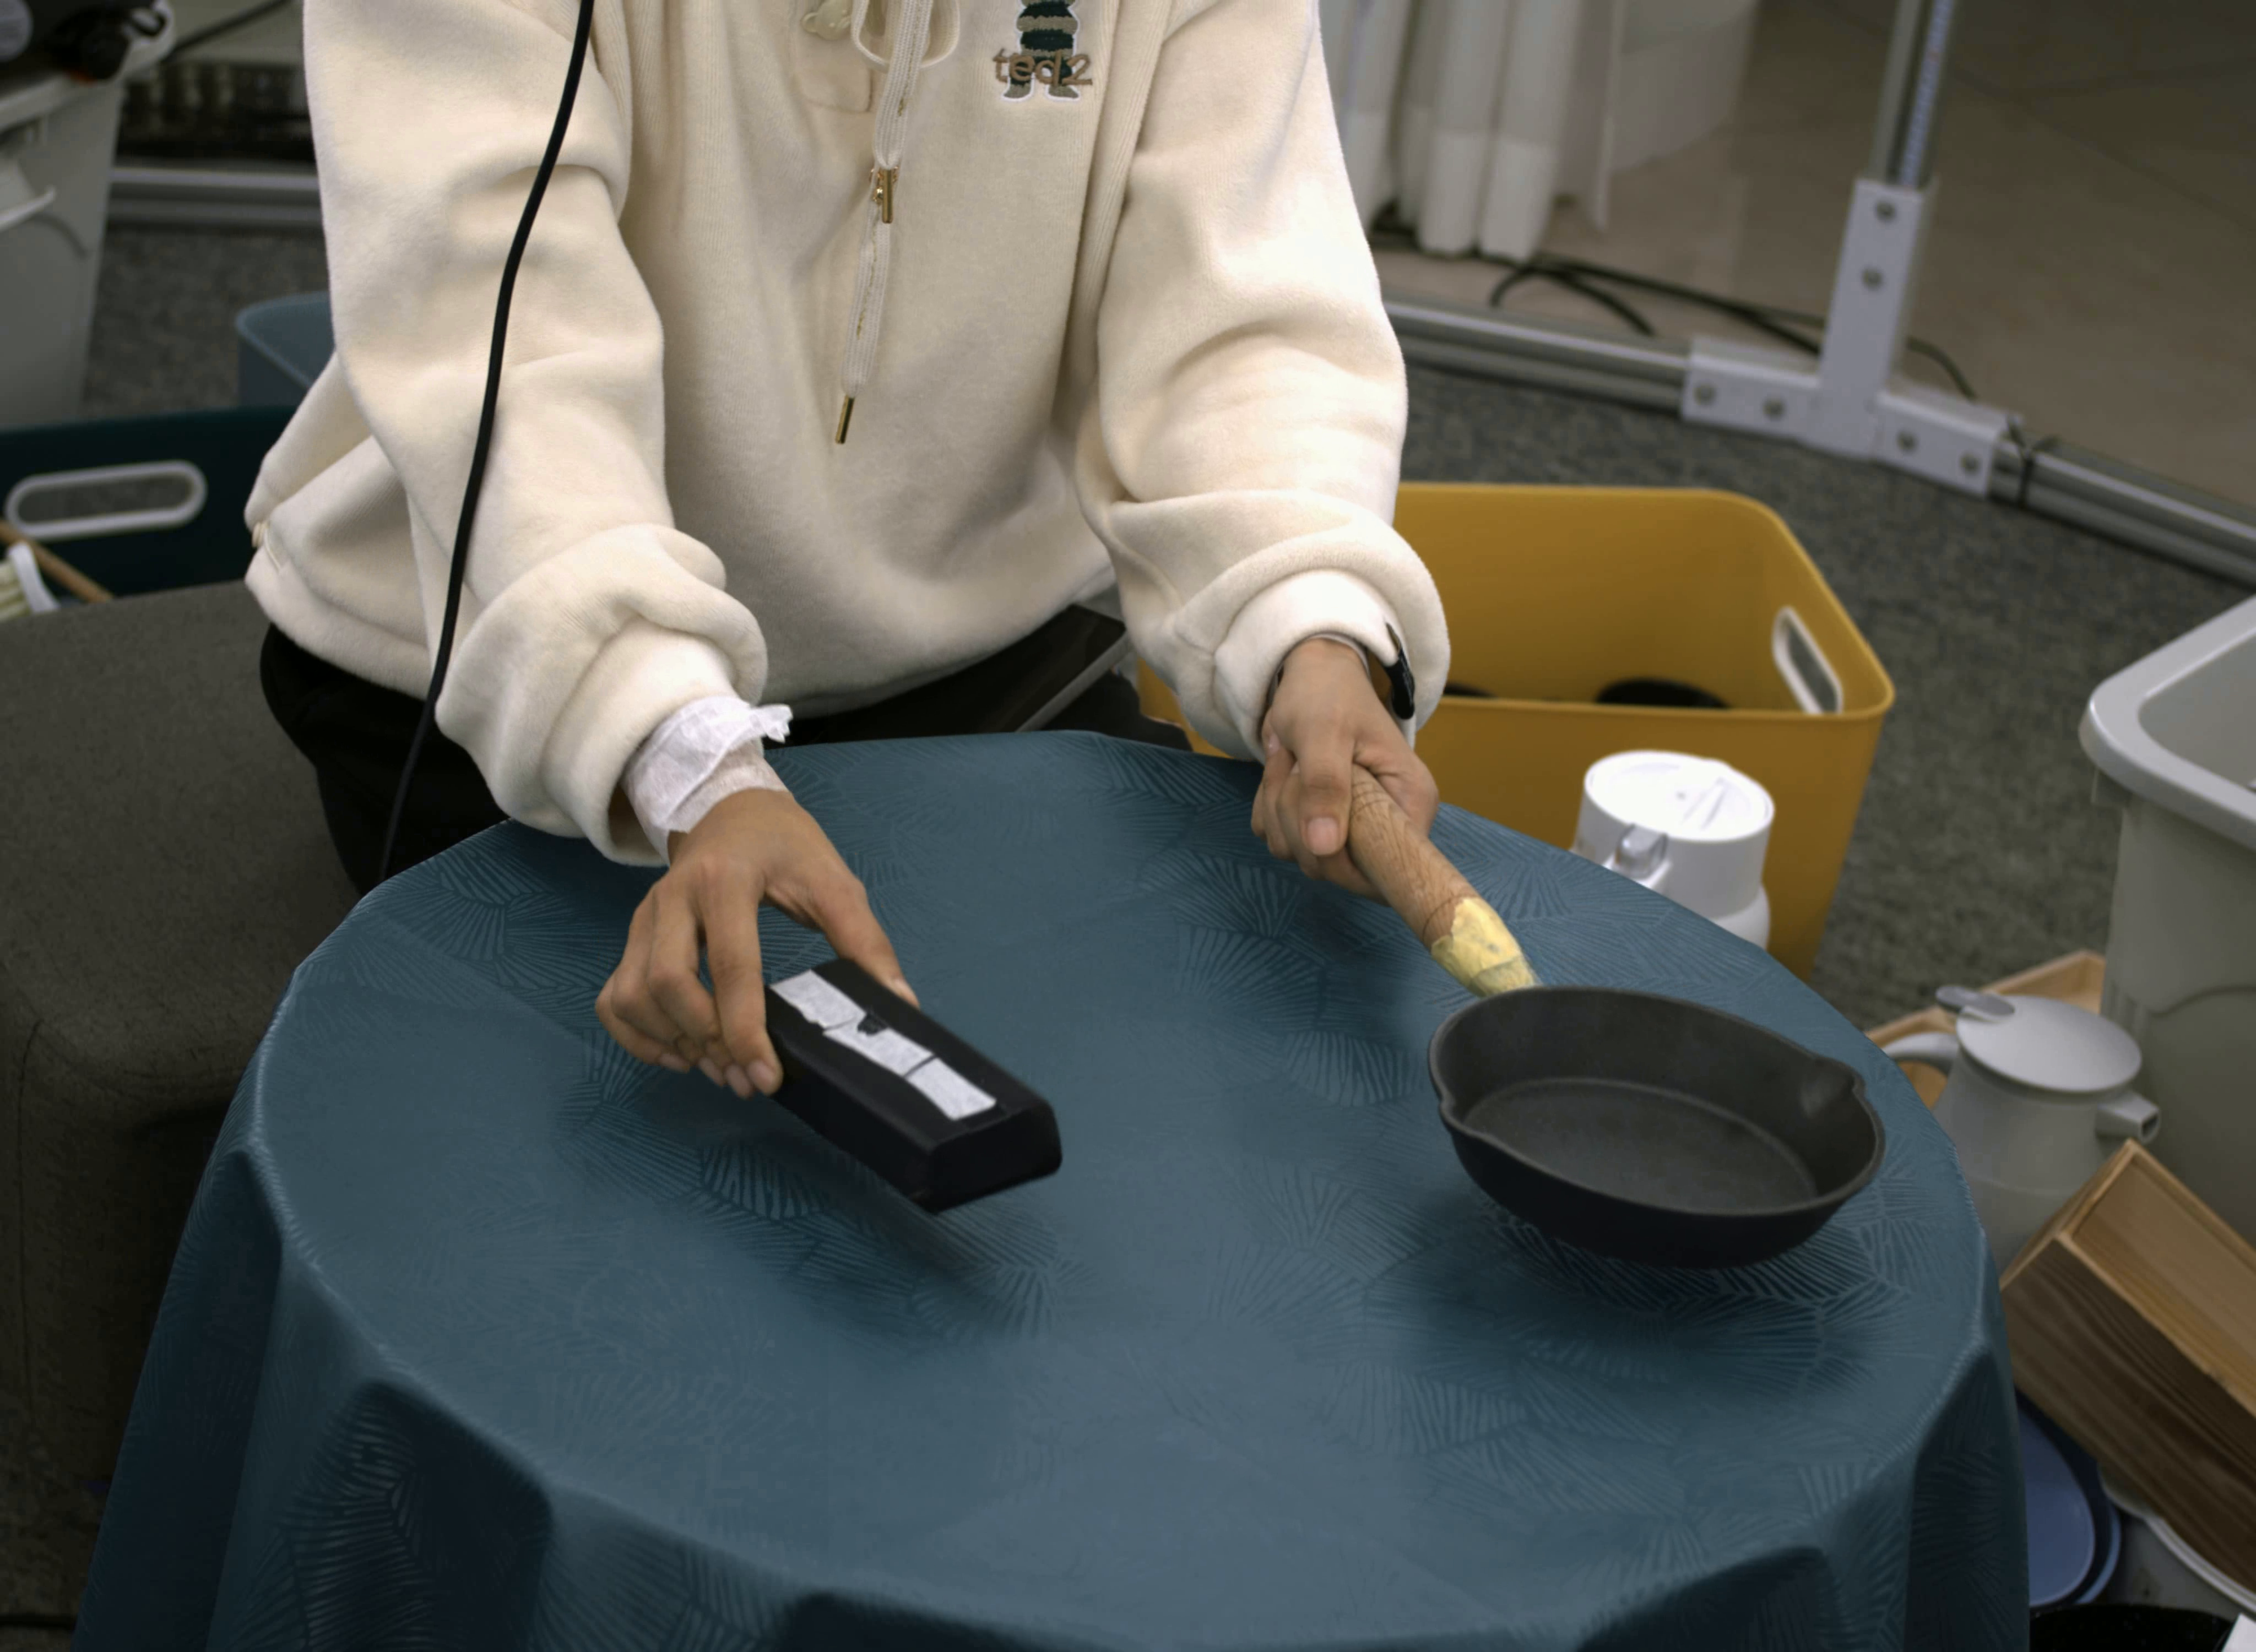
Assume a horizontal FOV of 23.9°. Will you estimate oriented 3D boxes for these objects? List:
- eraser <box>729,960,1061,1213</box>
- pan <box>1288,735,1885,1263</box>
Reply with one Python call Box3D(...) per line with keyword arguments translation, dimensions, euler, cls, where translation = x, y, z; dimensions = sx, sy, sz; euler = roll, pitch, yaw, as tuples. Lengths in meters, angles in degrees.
Box3D(translation=(-0.077, 0.085, 1.766), dimensions=(0.053, 0.030, 0.126), euler=(-20, 32, -30), cls="eraser")
Box3D(translation=(0.139, 0.058, 1.859), dimensions=(0.168, 0.049, 0.327), euler=(-5, 29, -27), cls="pan")
